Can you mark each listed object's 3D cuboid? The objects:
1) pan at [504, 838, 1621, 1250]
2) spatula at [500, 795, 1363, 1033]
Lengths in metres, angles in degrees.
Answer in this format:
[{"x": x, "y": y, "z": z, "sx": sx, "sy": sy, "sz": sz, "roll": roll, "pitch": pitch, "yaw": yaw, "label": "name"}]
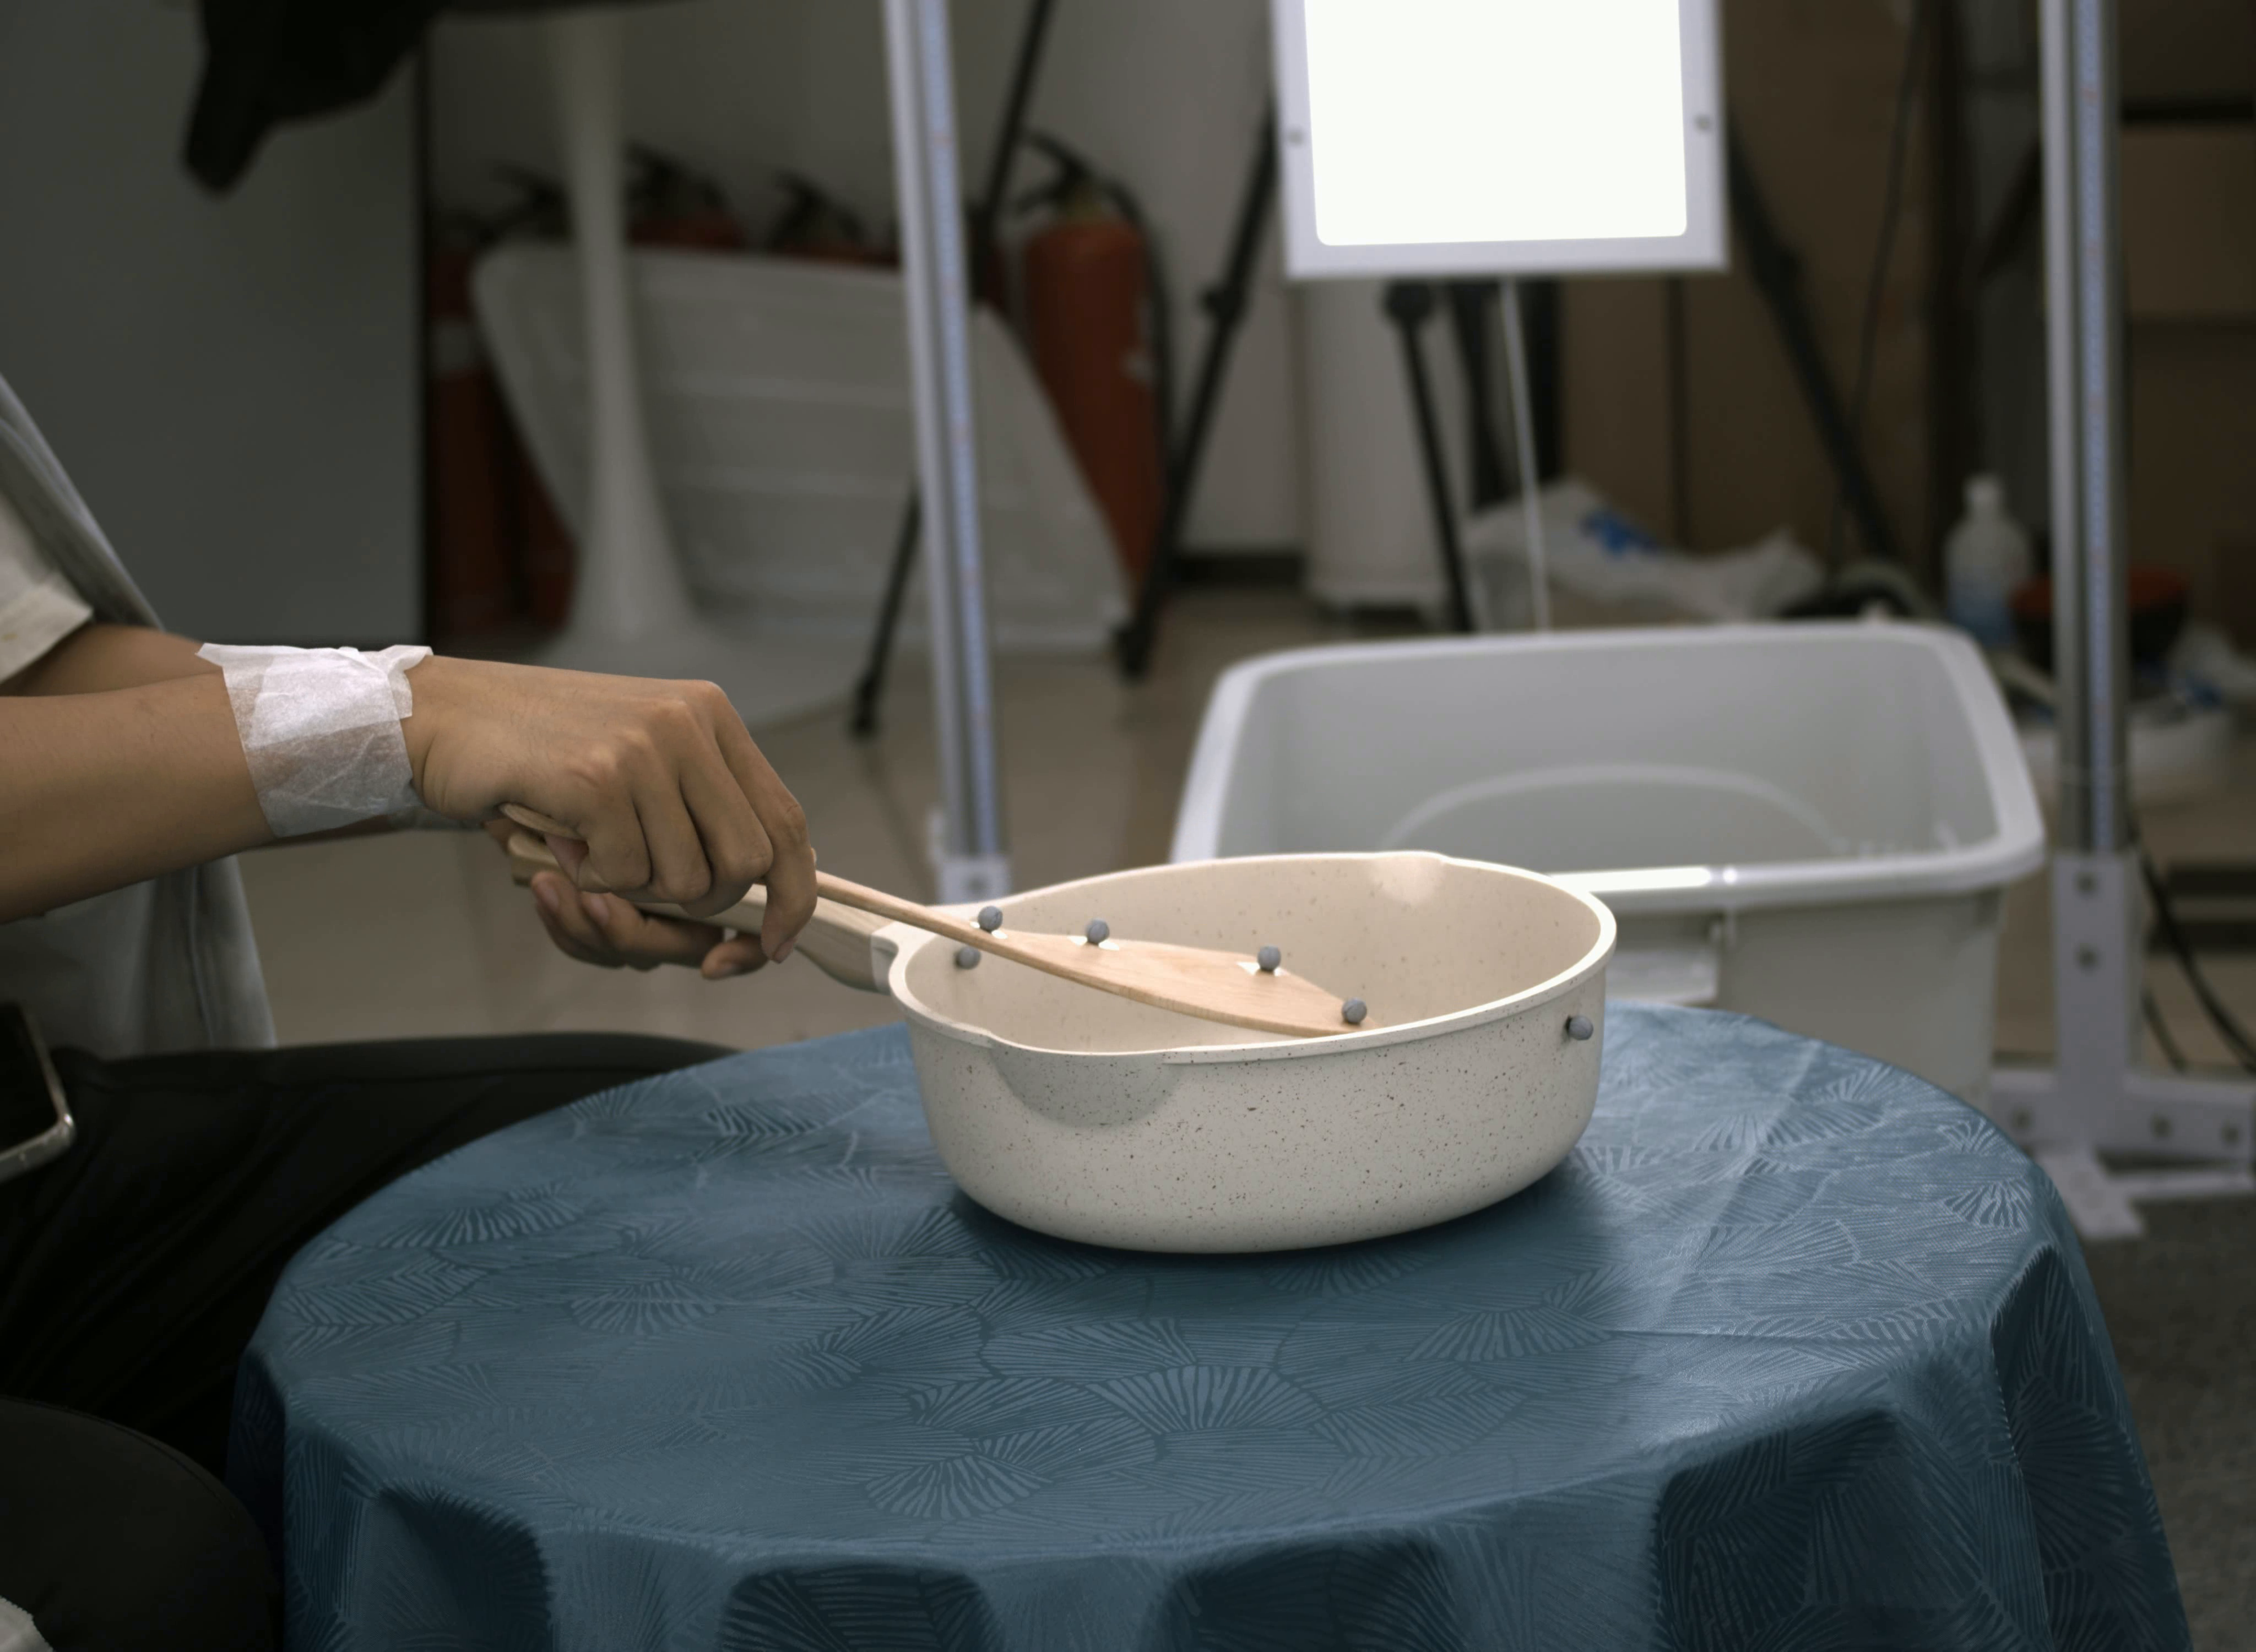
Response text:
[{"x": -0.033, "y": 0.065, "z": 1.948, "sx": 0.443, "sy": 0.102, "sz": 0.257, "roll": 3, "pitch": 17, "yaw": 31, "label": "pan"}, {"x": -0.061, "y": 0.027, "z": 1.827, "sx": 0.321, "sy": 0.016, "sz": 0.081, "roll": 15, "pitch": 11, "yaw": -29, "label": "spatula"}]
